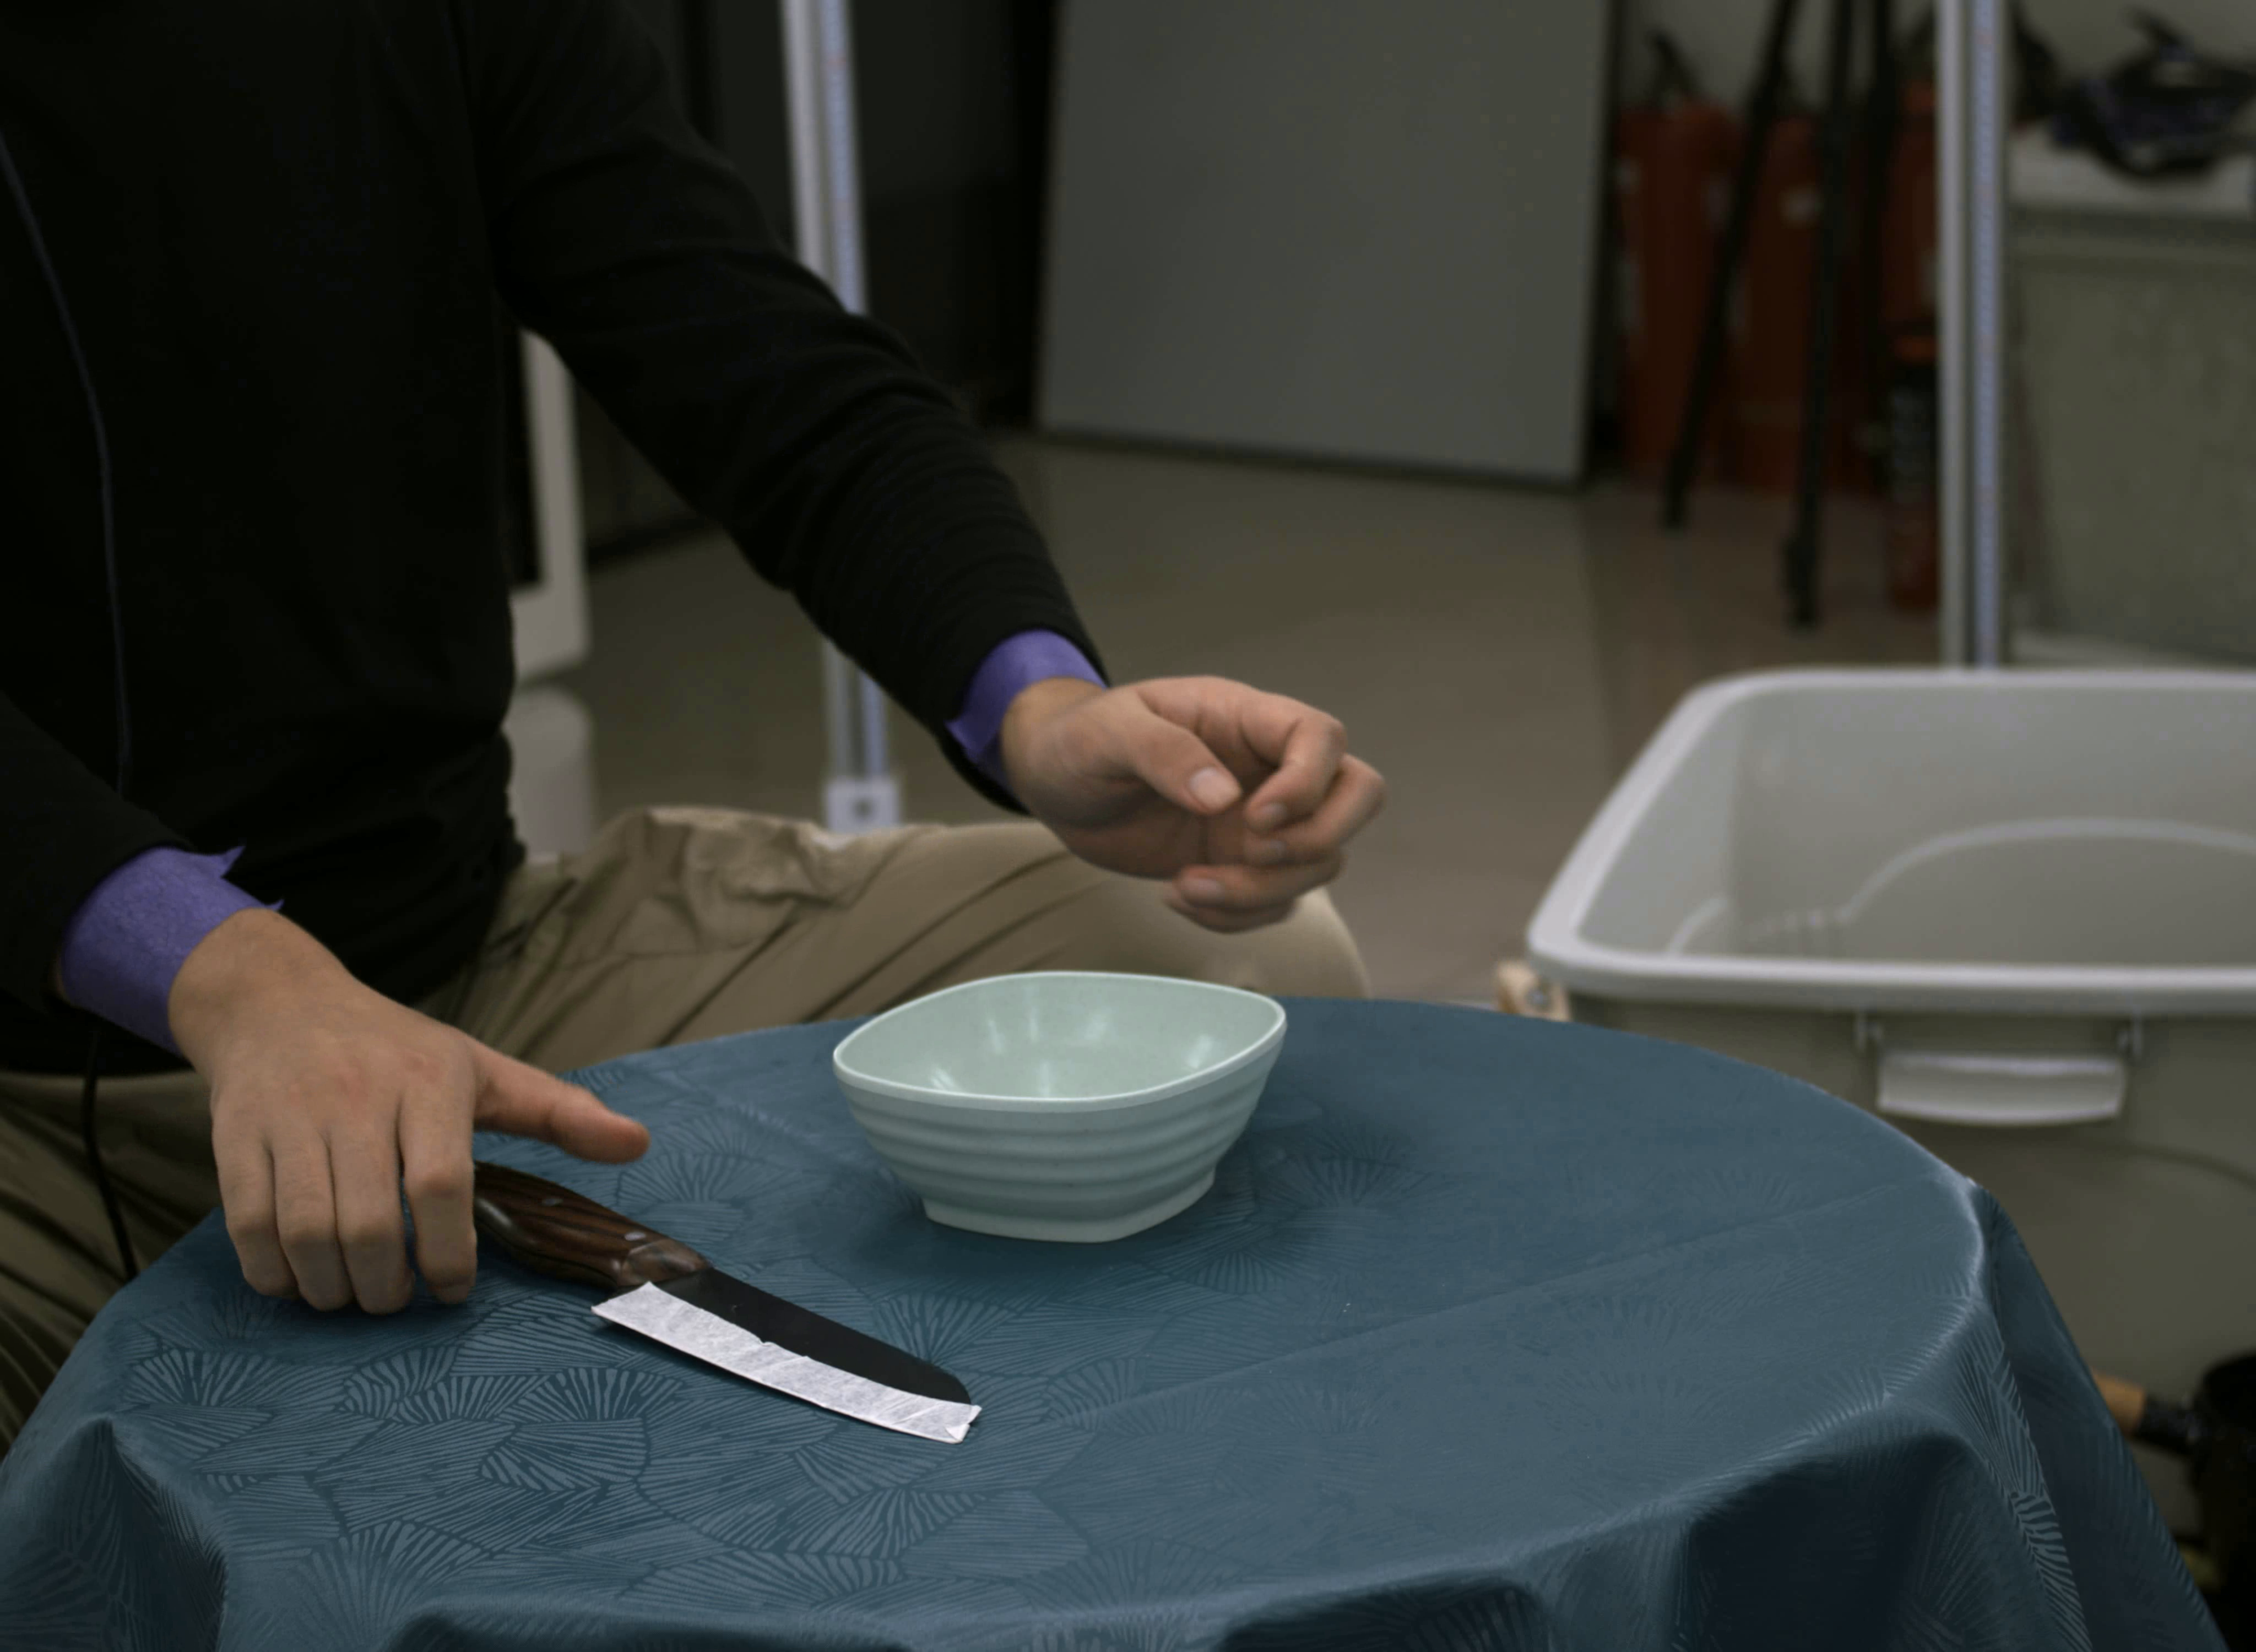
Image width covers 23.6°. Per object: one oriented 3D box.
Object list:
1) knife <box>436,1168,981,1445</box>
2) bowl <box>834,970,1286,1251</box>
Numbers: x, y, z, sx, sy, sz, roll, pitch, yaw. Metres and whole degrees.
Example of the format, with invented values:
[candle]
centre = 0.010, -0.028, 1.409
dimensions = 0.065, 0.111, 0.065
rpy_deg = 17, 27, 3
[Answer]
[knife]
centre = -0.133, 0.149, 1.671
dimensions = 0.049, 0.020, 0.292
rpy_deg = -20, 23, -33
[bowl]
centre = -0.021, 0.096, 1.765
dimensions = 0.149, 0.059, 0.152
rpy_deg = -3, 15, 0
